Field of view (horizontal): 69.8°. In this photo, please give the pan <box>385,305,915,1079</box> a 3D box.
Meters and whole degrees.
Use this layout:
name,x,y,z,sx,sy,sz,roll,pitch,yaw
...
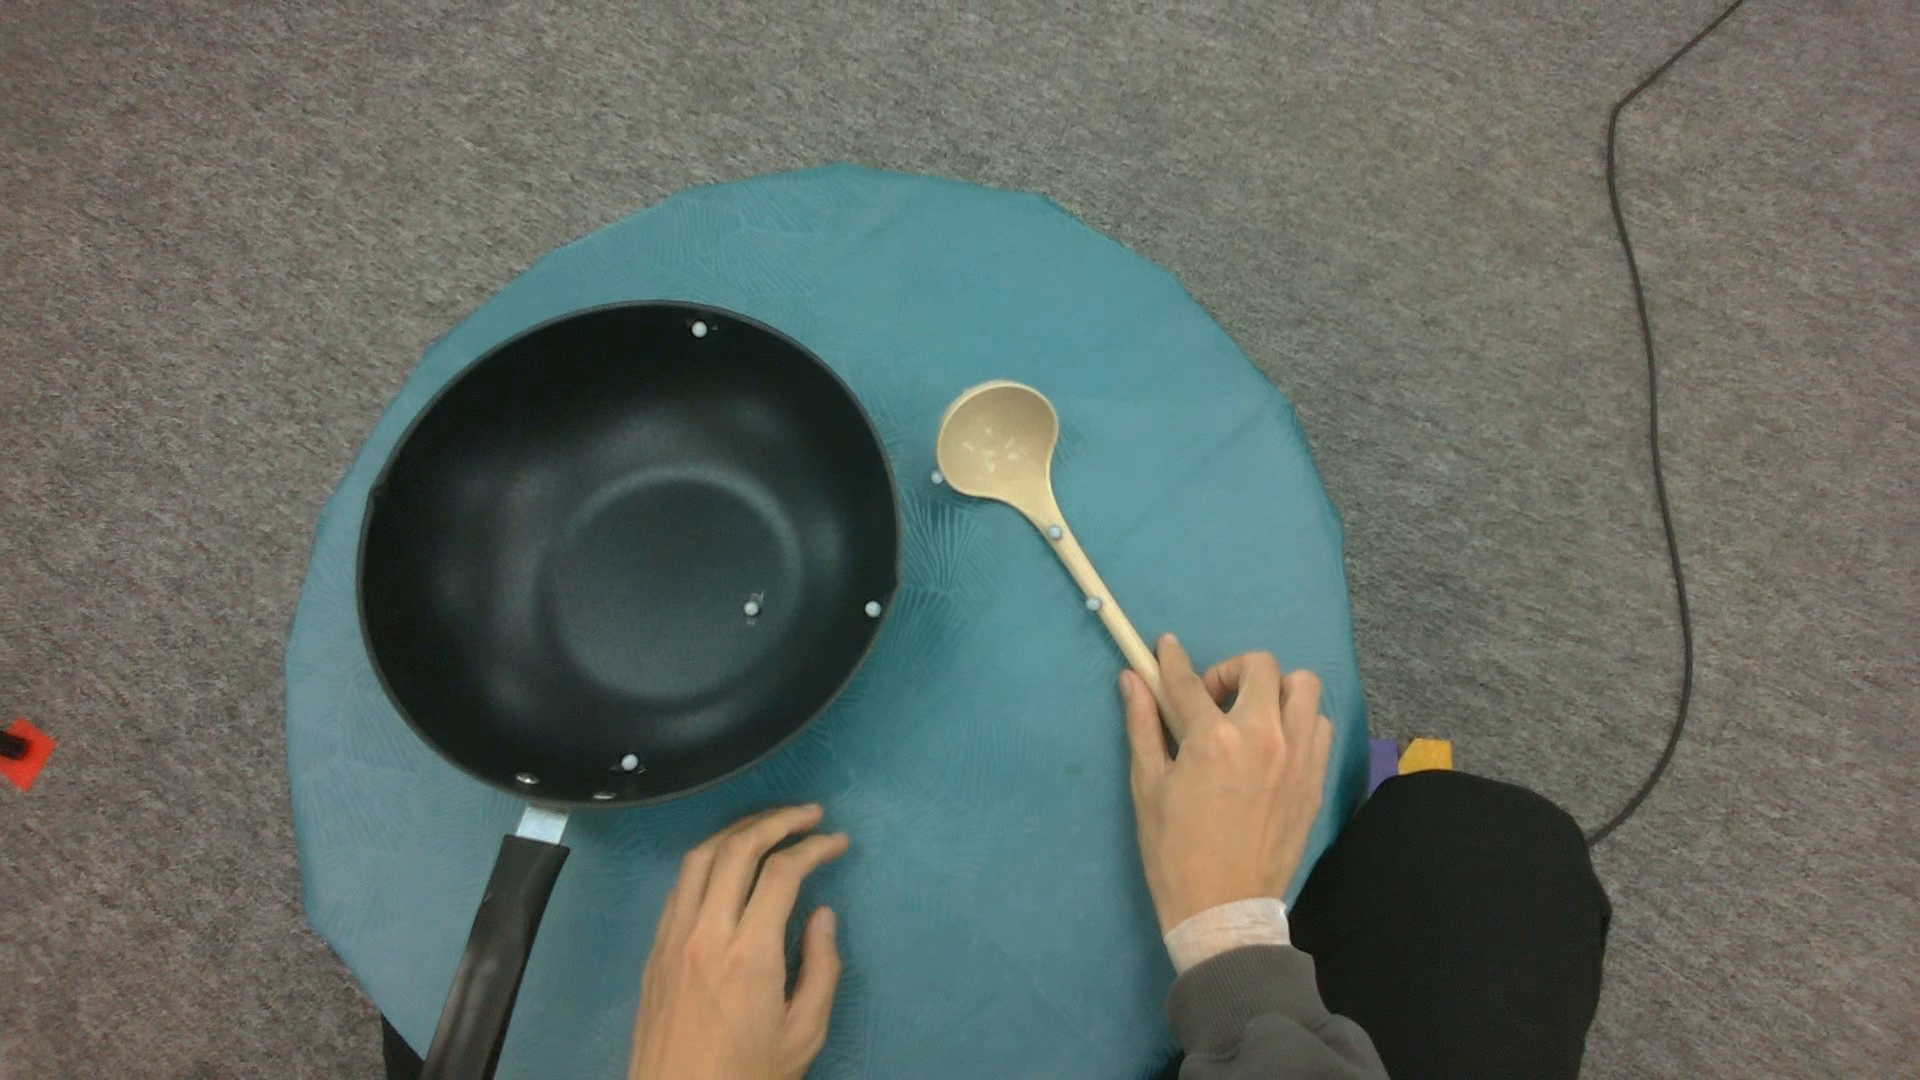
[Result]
name,x,y,z,sx,sy,sz,roll,pitch,yaw
pan,-0.183,0.097,0.730,0.288,0.086,0.465,11,71,8

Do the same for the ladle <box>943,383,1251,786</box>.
name,x,y,z,sx,sy,sz,roll,pitch,yaw
ladle,0.078,0.021,0.746,0.072,0.072,0.255,-34,70,-5
